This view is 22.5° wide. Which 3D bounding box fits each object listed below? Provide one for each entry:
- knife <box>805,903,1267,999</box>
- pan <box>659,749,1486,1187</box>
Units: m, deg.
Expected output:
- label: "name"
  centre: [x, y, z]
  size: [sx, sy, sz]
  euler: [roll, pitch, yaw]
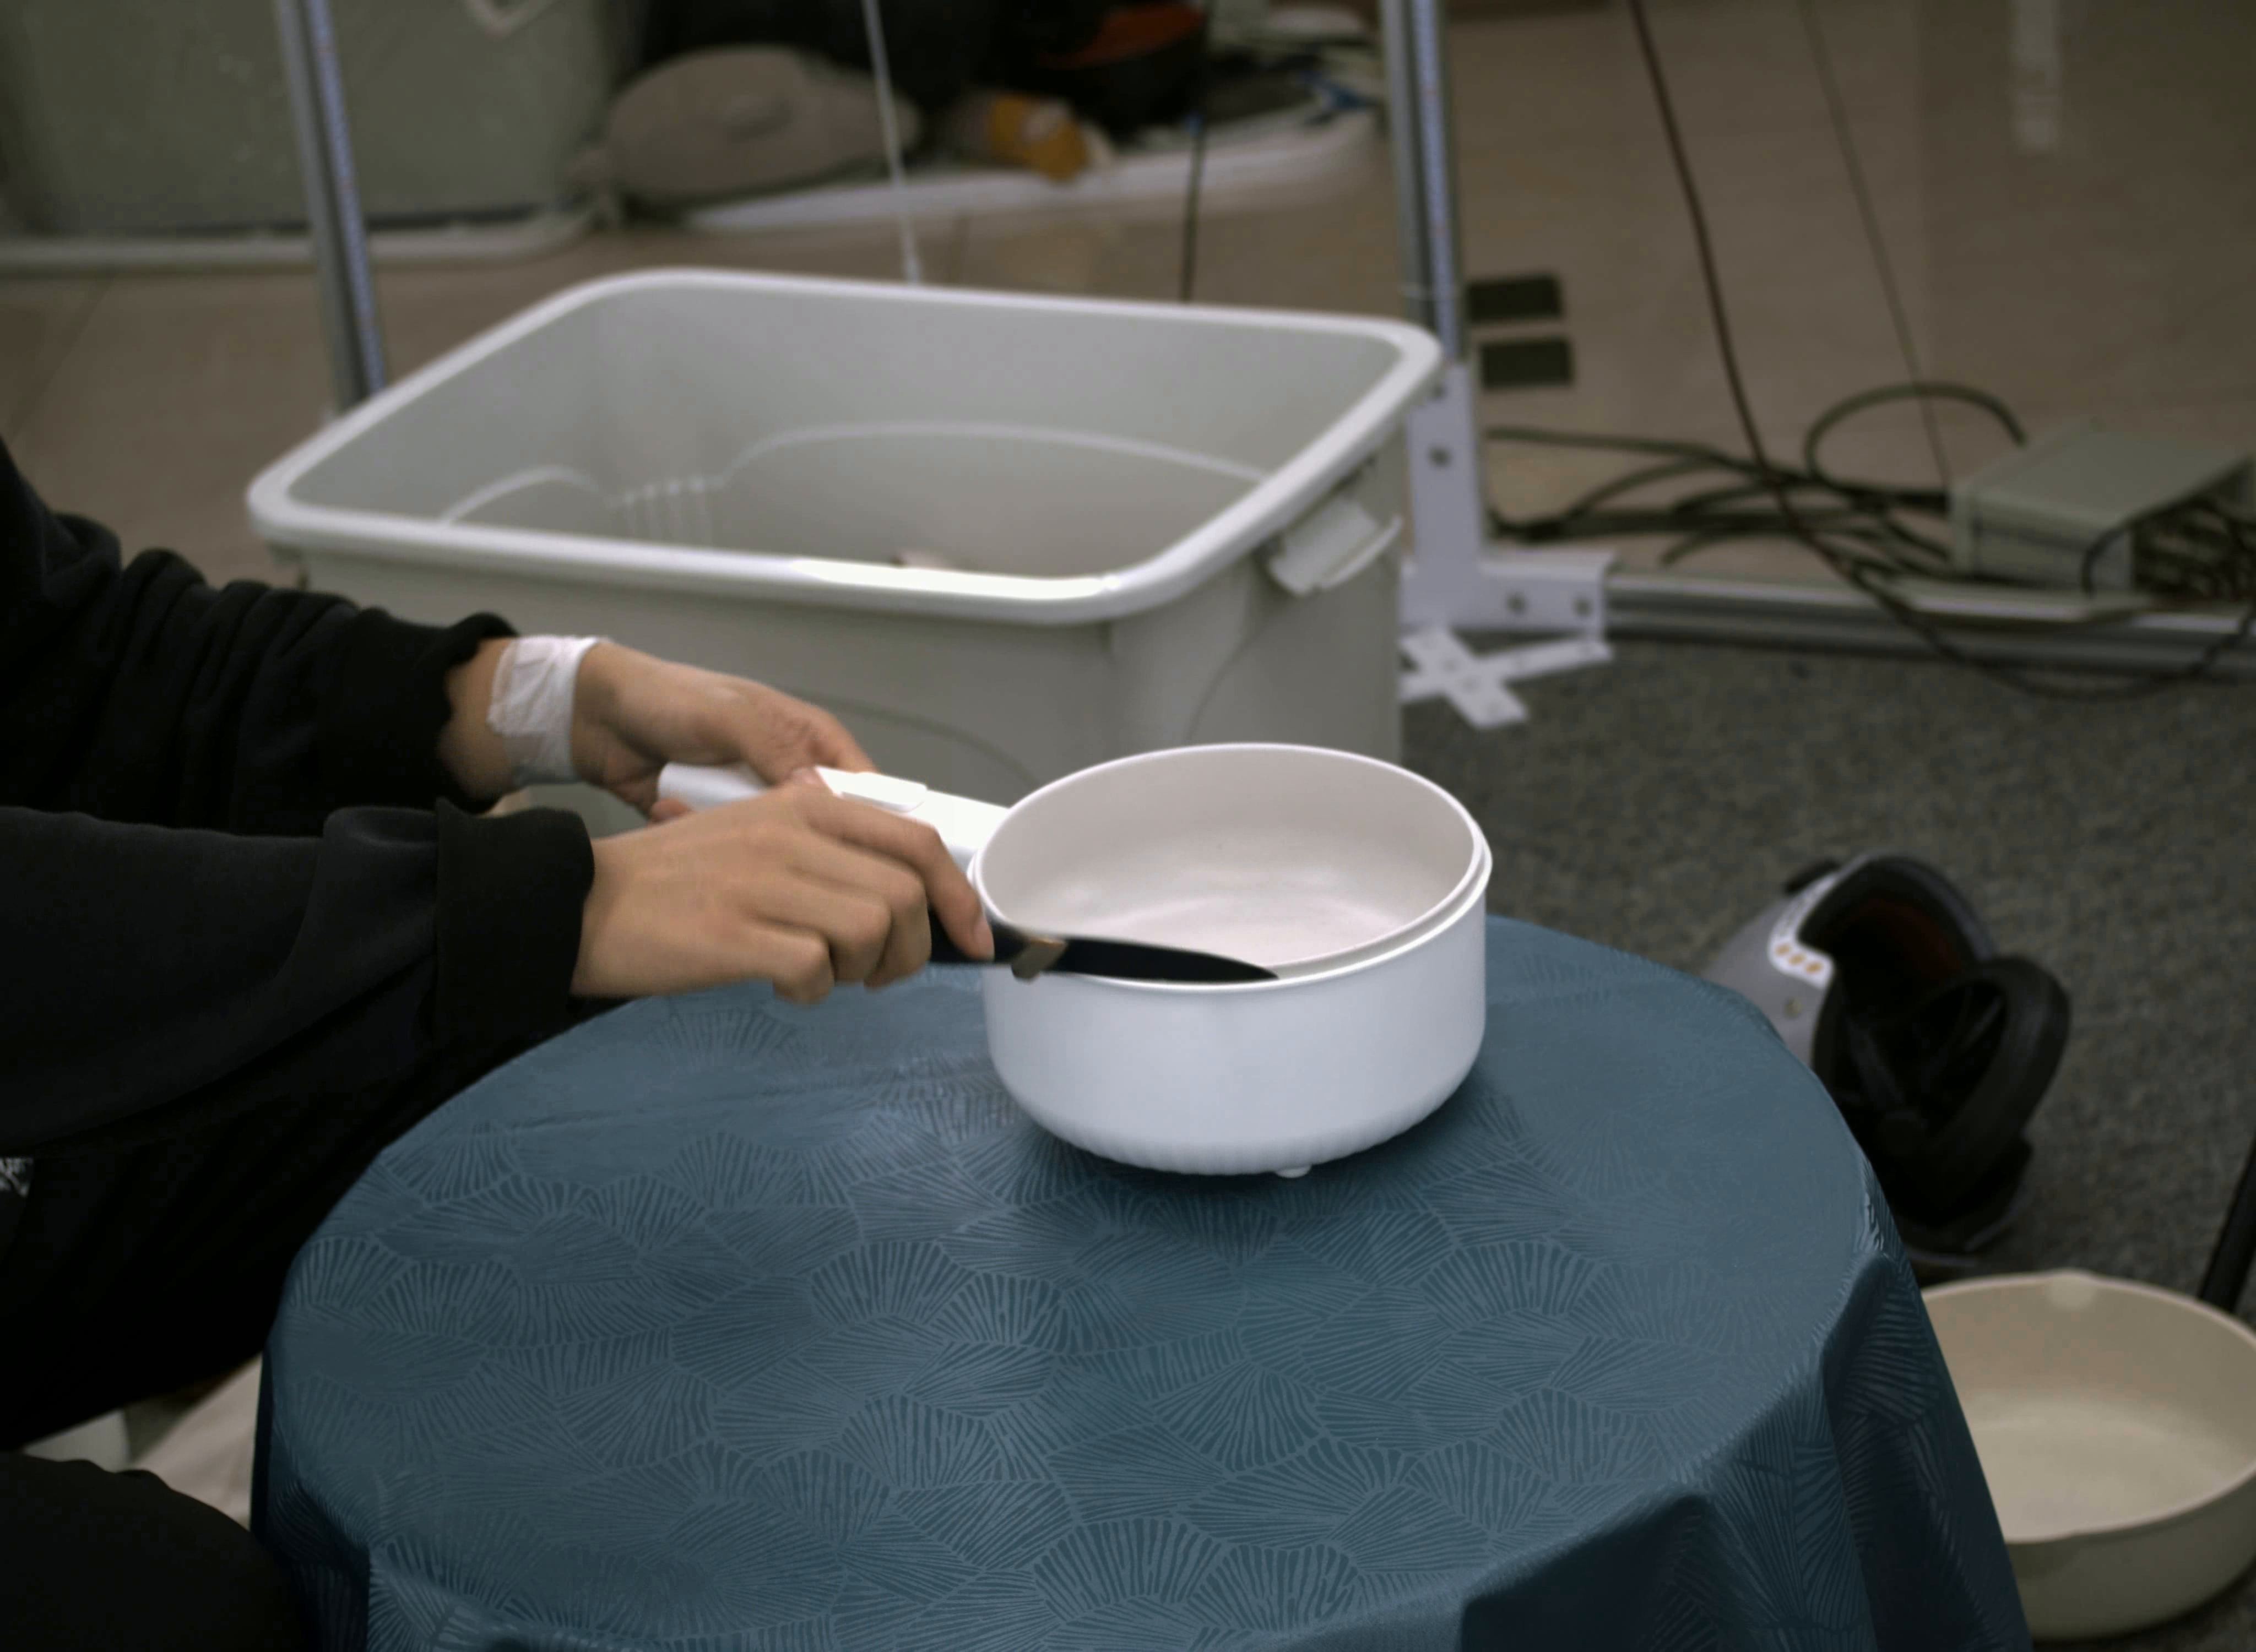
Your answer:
- label: "knife"
  centre: [-0.028, 0.045, 1.997]
  size: [0.226, 0.026, 0.017]
  euler: [8, 37, -44]
- label: "pan"
  centre: [-0.026, 0.046, 2.226]
  size: [0.353, 0.104, 0.199]
  euler: [11, 32, 28]
